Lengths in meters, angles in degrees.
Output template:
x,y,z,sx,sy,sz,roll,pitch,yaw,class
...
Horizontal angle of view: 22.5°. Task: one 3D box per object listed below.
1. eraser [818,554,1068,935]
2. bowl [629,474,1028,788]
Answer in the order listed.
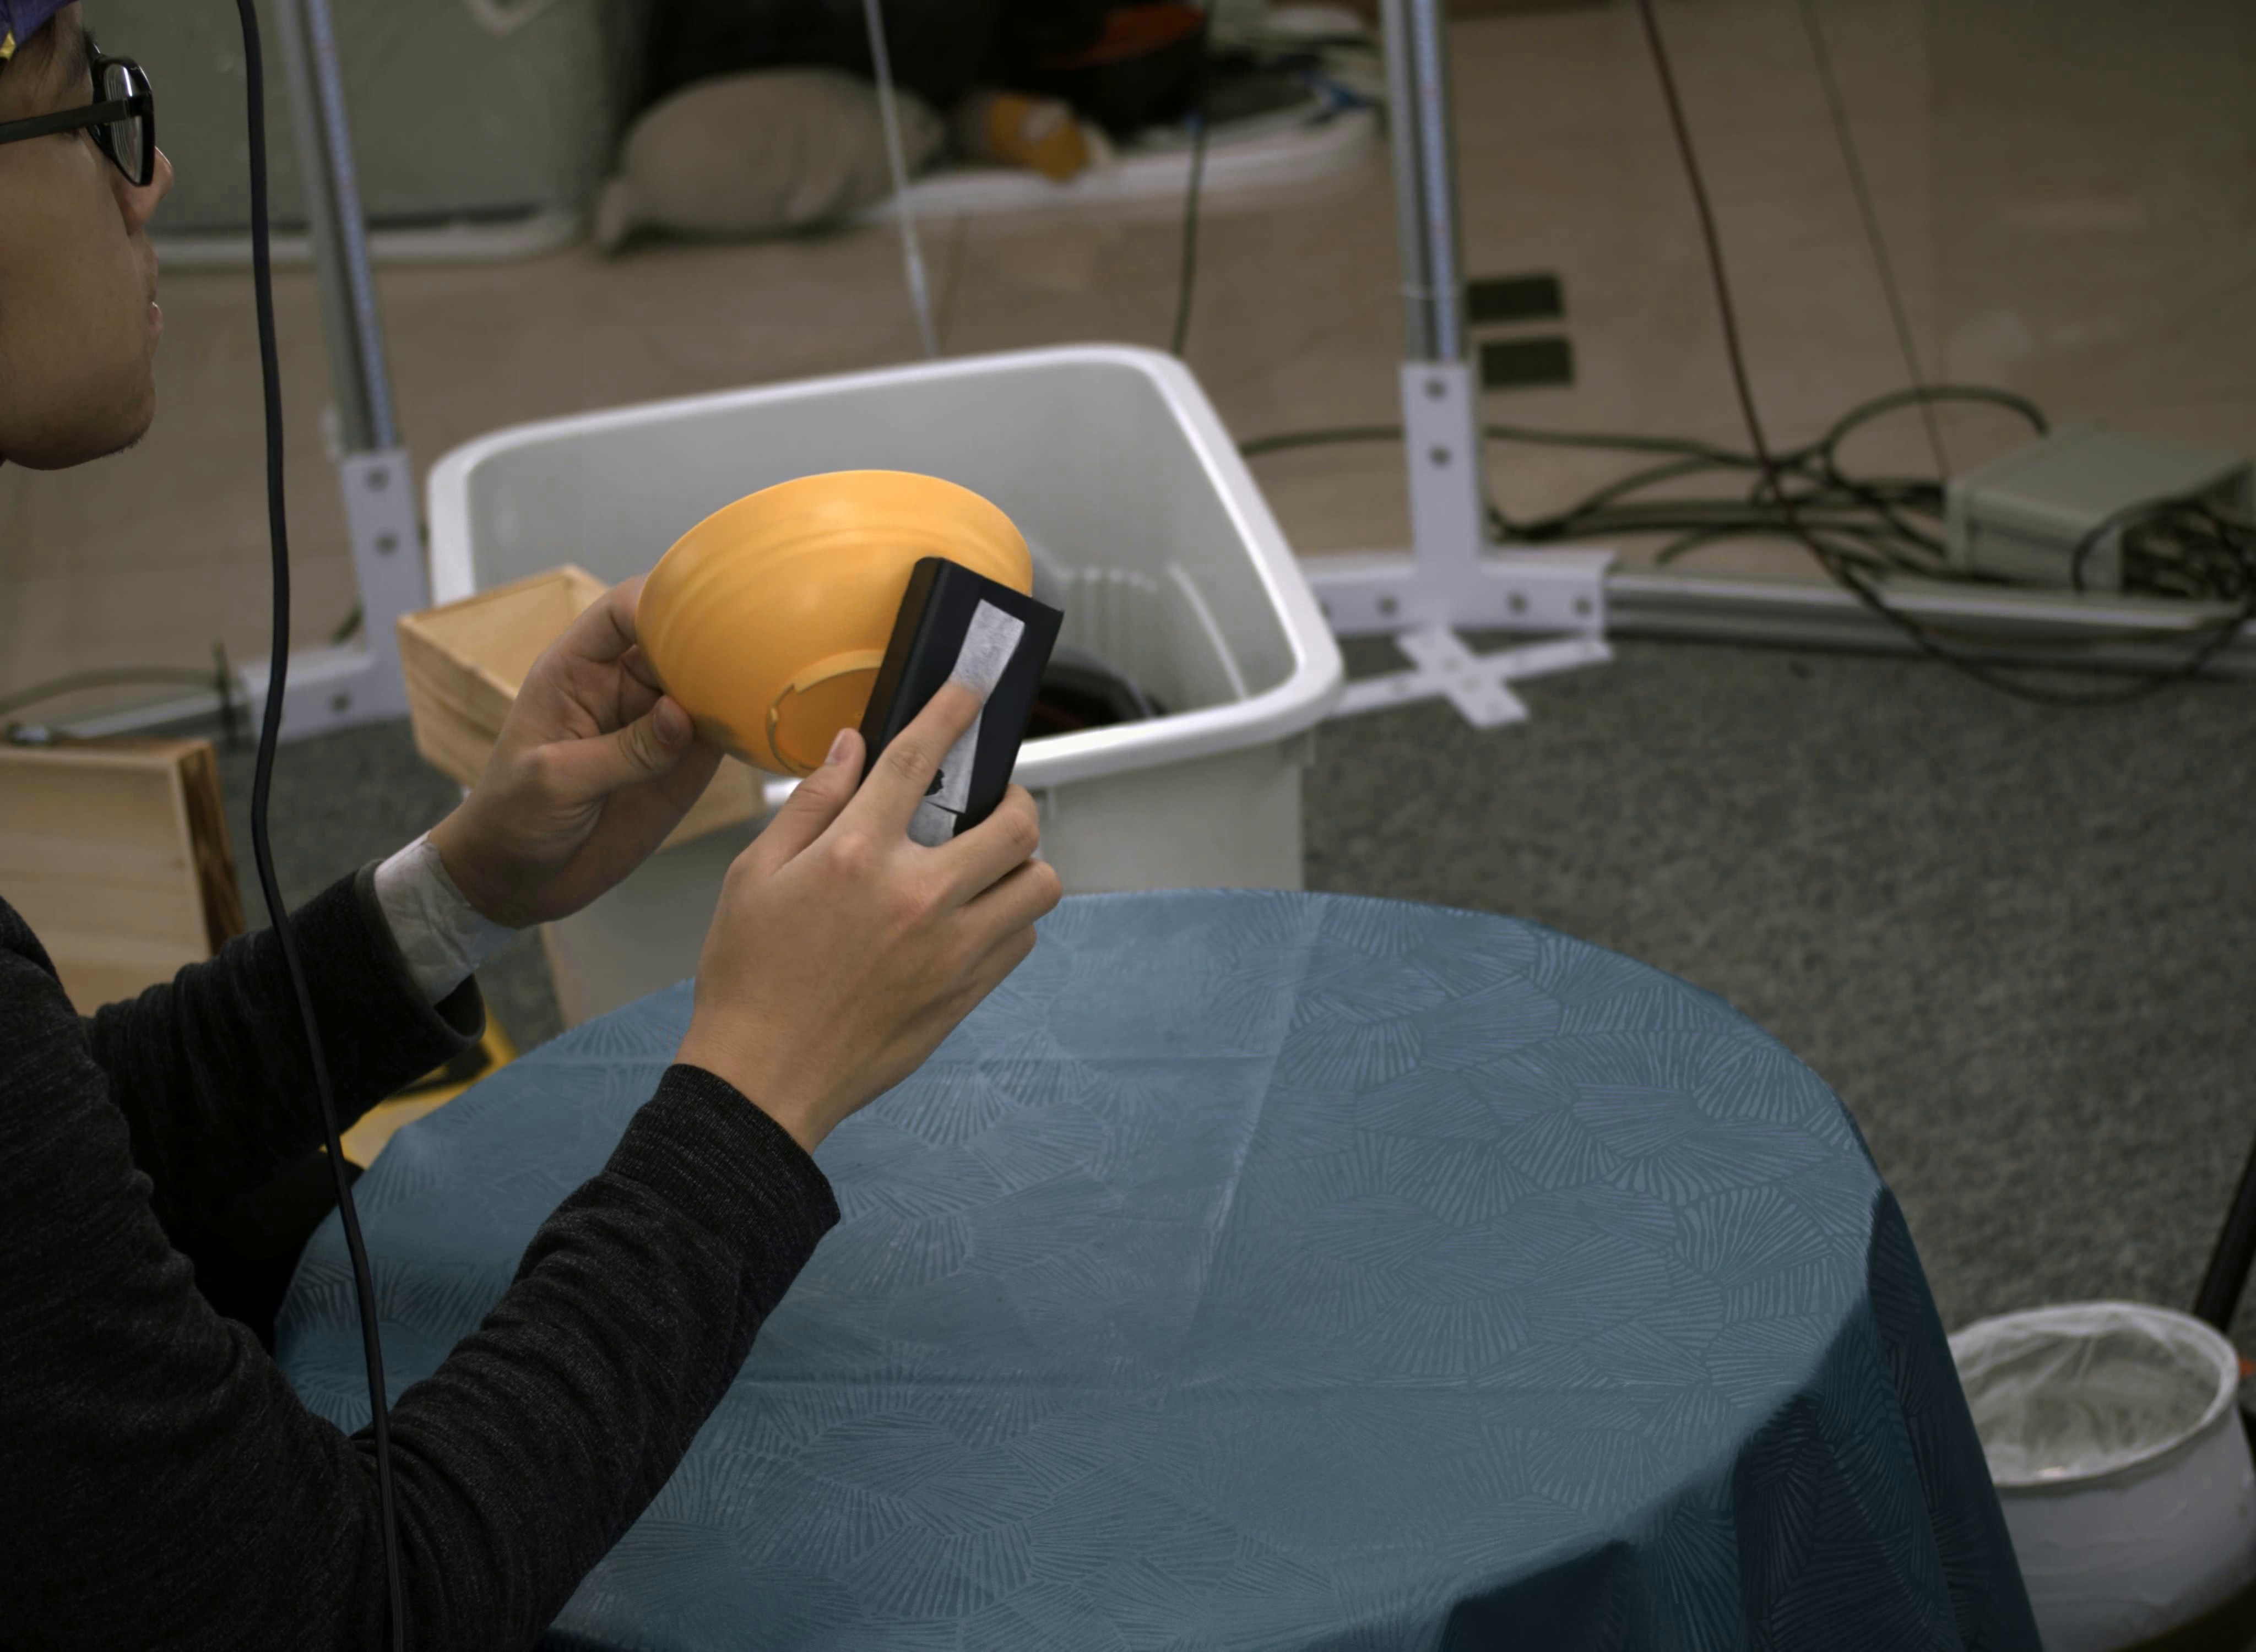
x,y,z,sx,sy,sz,roll,pitch,yaw,class
-0.065,-0.028,1.964,0.054,0.125,0.030,21,-11,-20,eraser
-0.104,-0.057,2.020,0.145,0.148,0.059,-8,53,-4,bowl
